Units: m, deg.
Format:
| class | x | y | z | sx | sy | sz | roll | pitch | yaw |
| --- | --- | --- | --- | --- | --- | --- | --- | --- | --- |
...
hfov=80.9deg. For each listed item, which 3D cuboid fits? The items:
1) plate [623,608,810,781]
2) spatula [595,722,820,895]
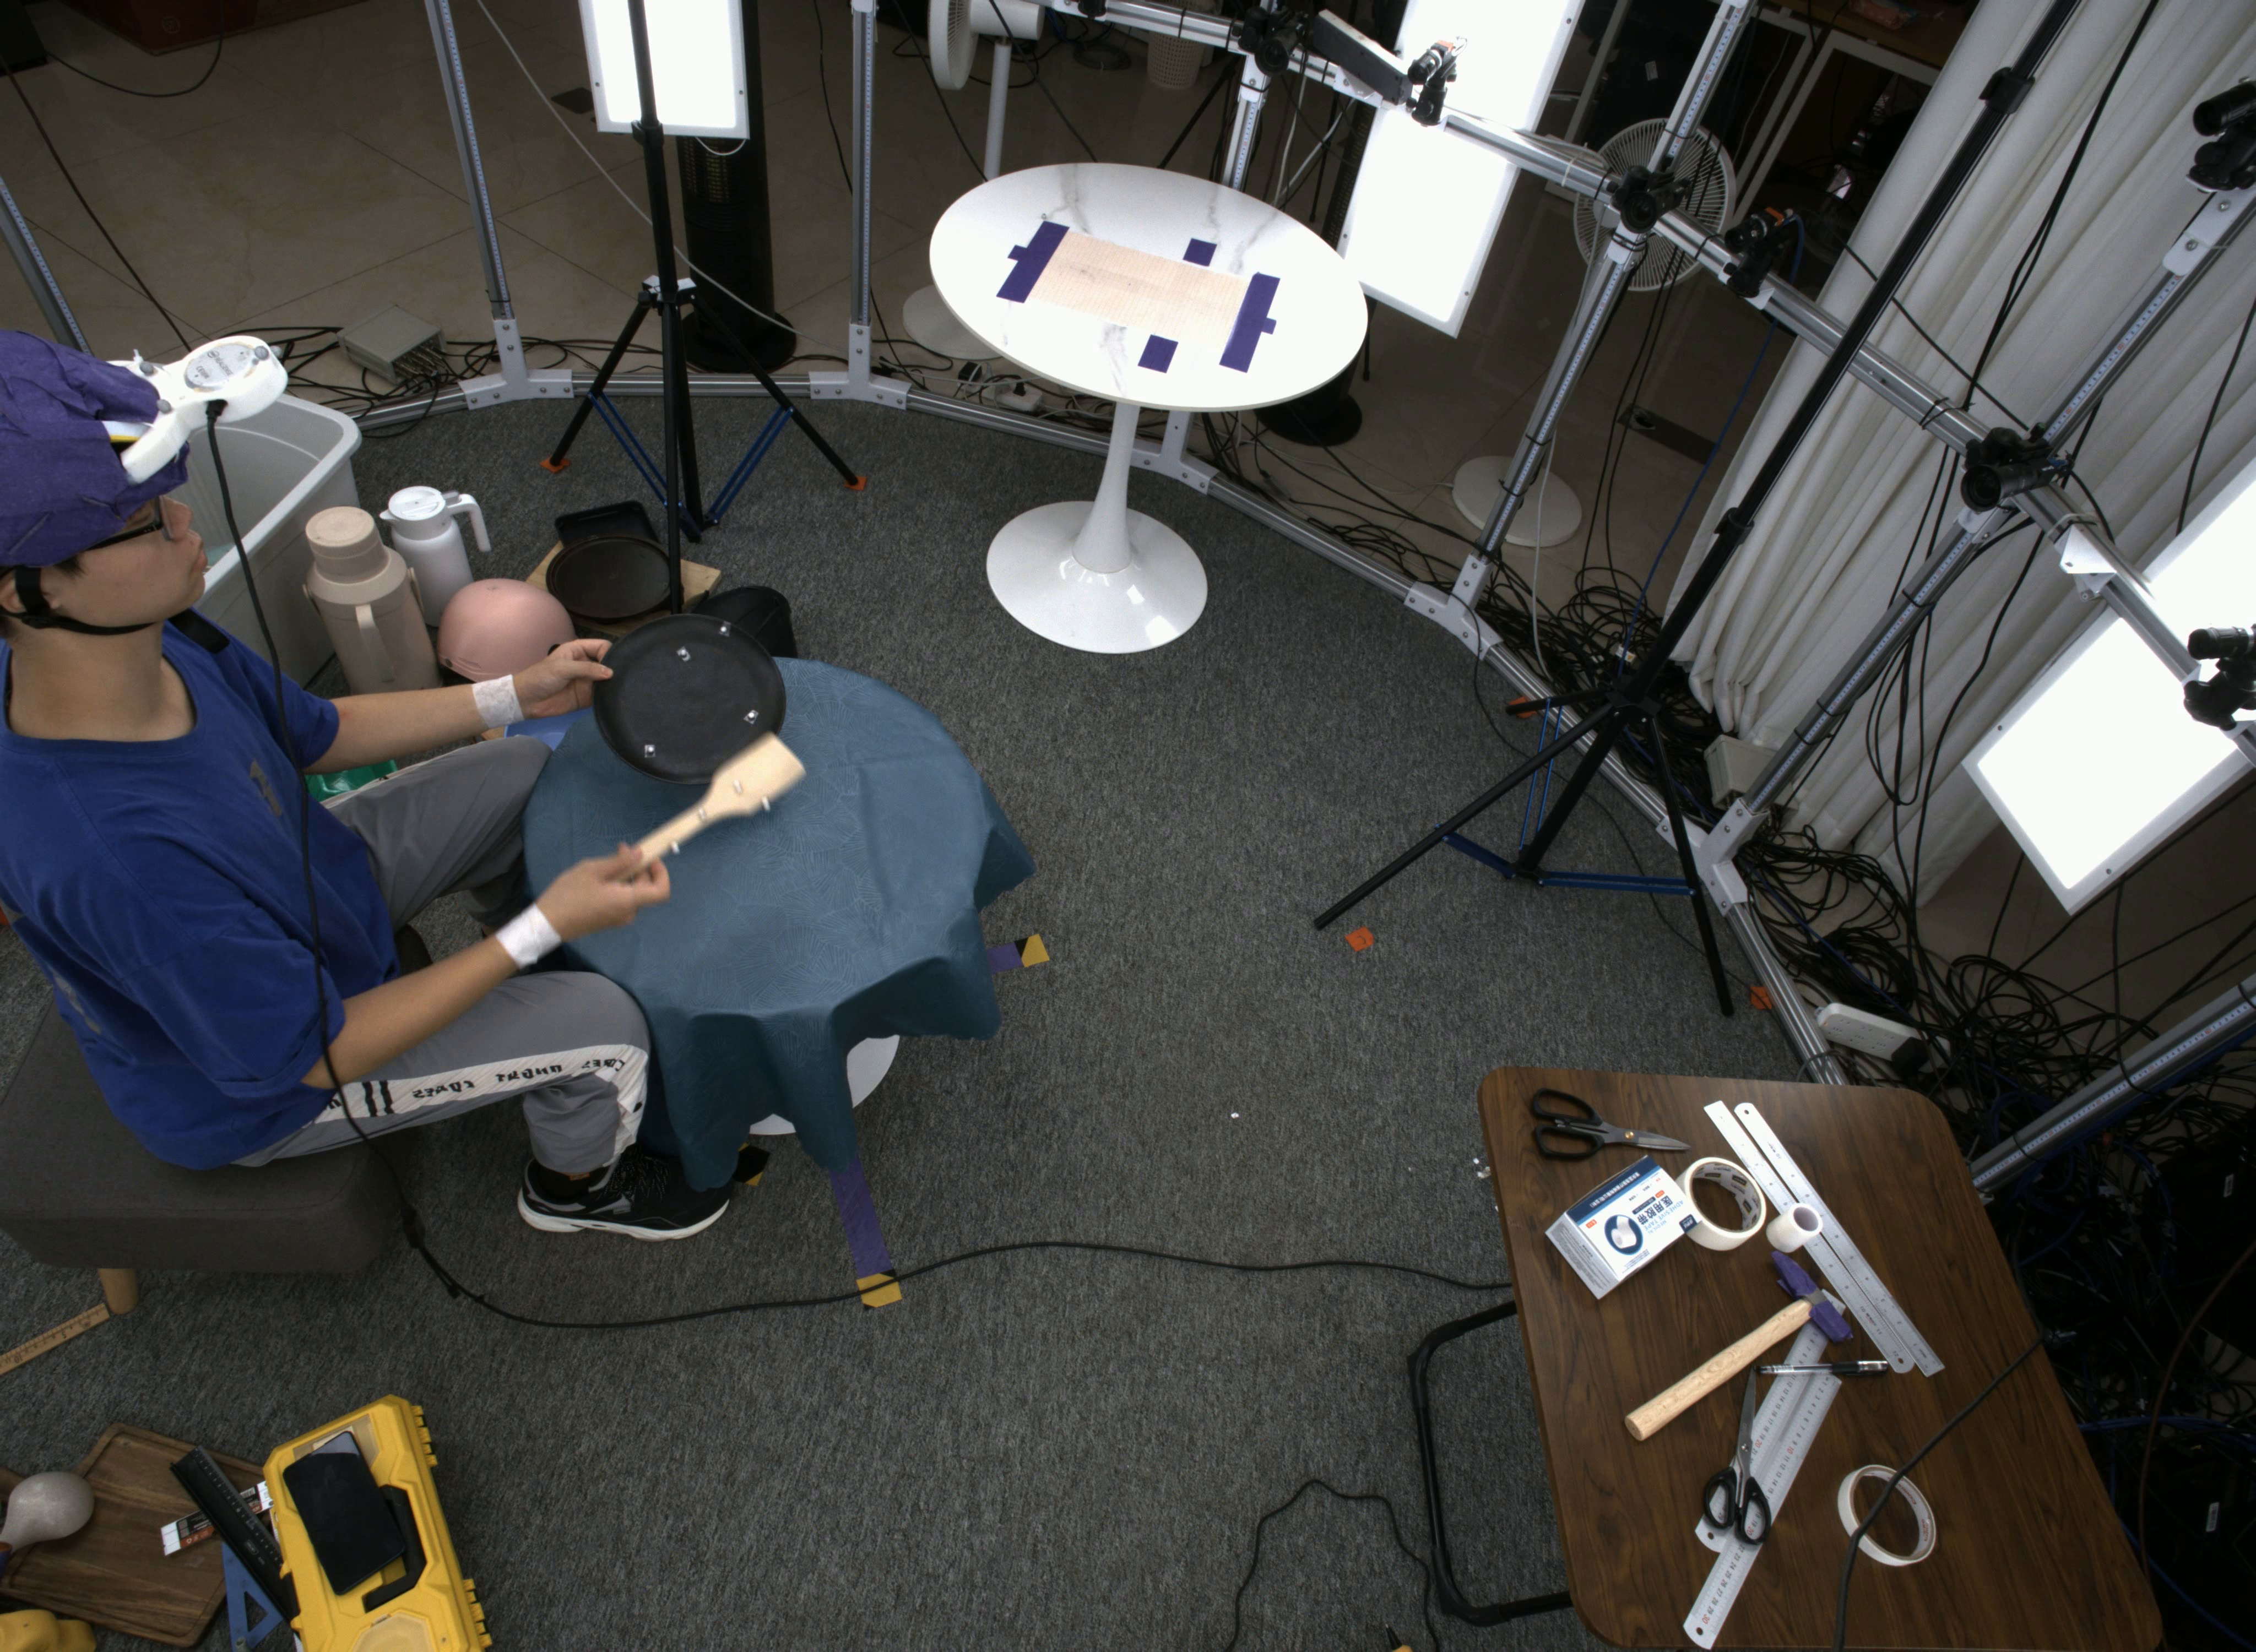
| class | x | y | z | sx | sy | sz | roll | pitch | yaw |
| --- | --- | --- | --- | --- | --- | --- | --- | --- | --- |
| plate | -0.541 | -0.171 | 1.691 | 0.246 | 0.023 | 0.243 | 7 | 71 | -18 |
| spatula | -0.483 | -0.016 | 1.466 | 0.293 | 0.011 | 0.070 | -39 | 70 | -22 |
